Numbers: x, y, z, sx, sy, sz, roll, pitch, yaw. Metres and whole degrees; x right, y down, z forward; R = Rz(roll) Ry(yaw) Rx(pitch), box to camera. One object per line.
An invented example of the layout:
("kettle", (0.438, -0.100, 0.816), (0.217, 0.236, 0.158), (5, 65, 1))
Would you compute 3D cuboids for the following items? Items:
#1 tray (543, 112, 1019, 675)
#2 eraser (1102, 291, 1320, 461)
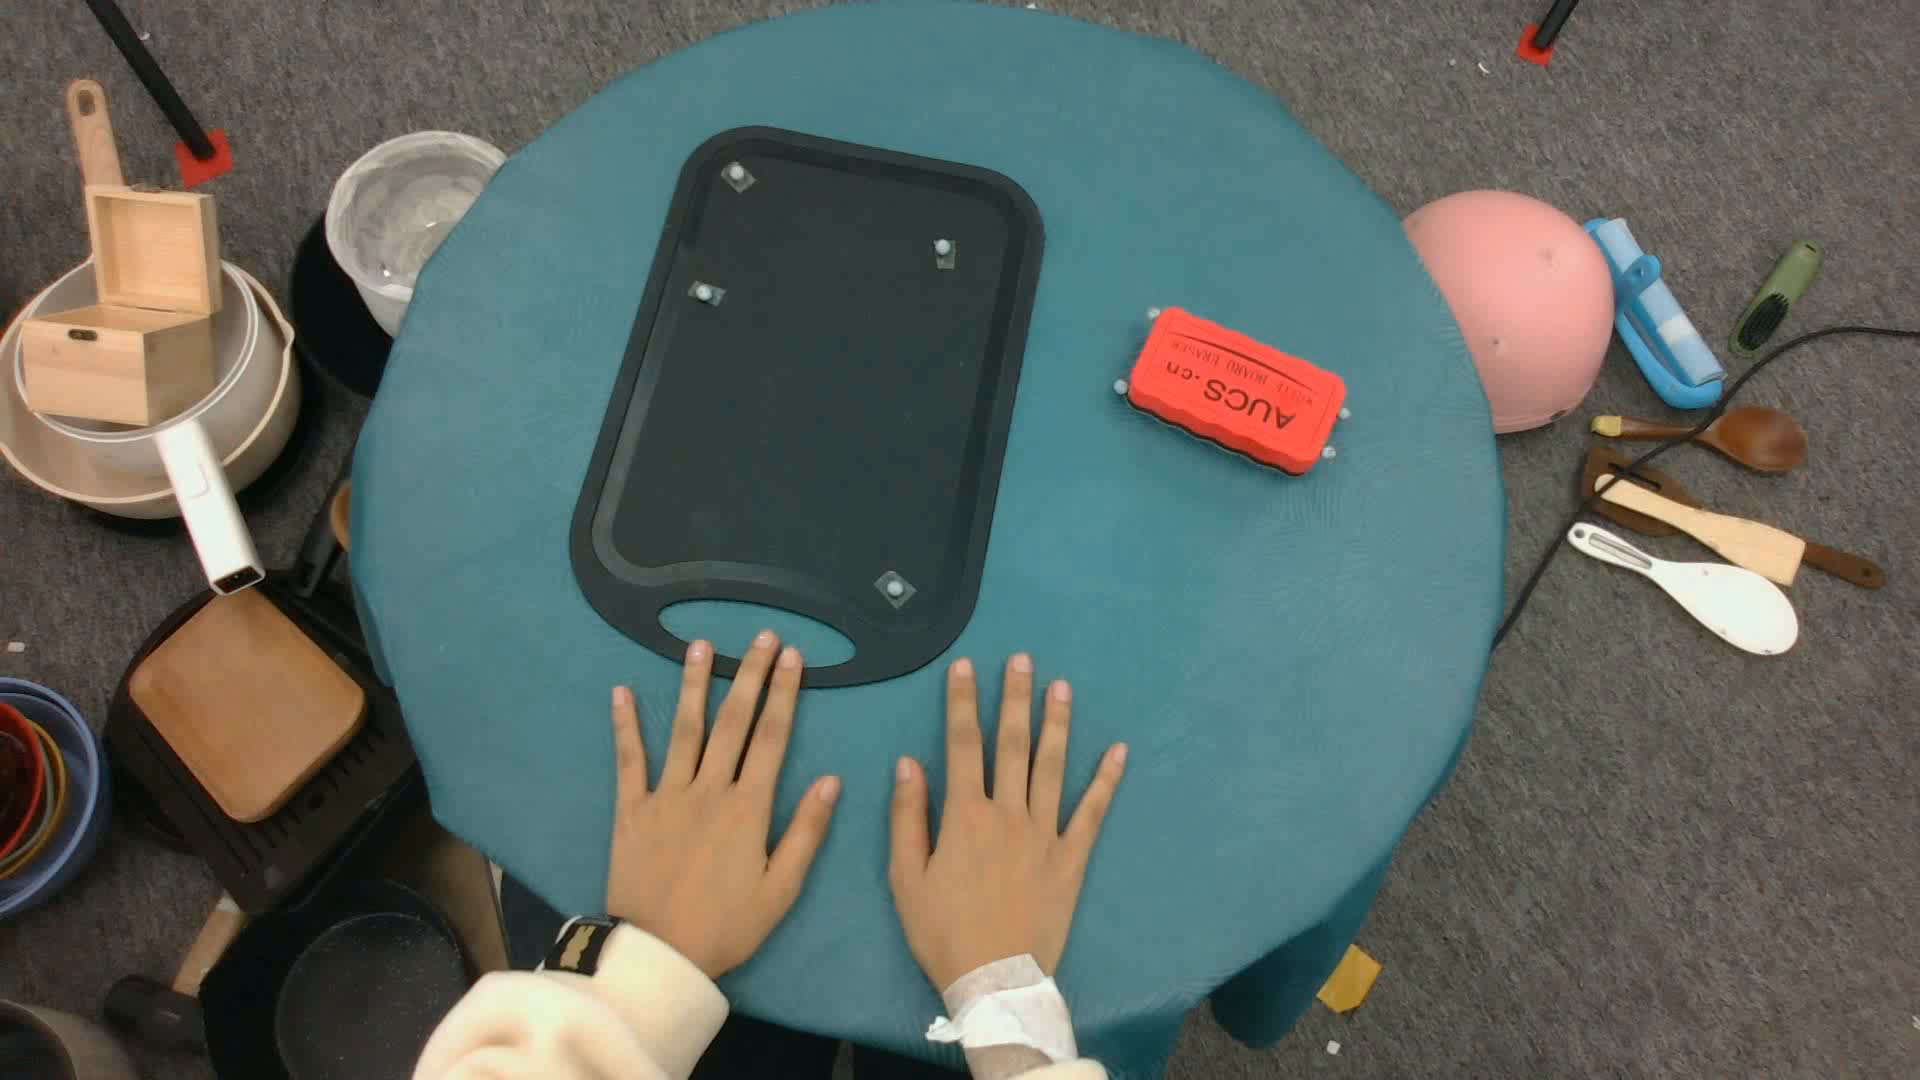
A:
("tray", (-0.089, -0.086, 0.731), (0.211, 0.010, 0.326), (11, 68, -1))
("eraser", (0.135, -0.089, 0.744), (0.108, 0.023, 0.059), (25, 68, 5))
